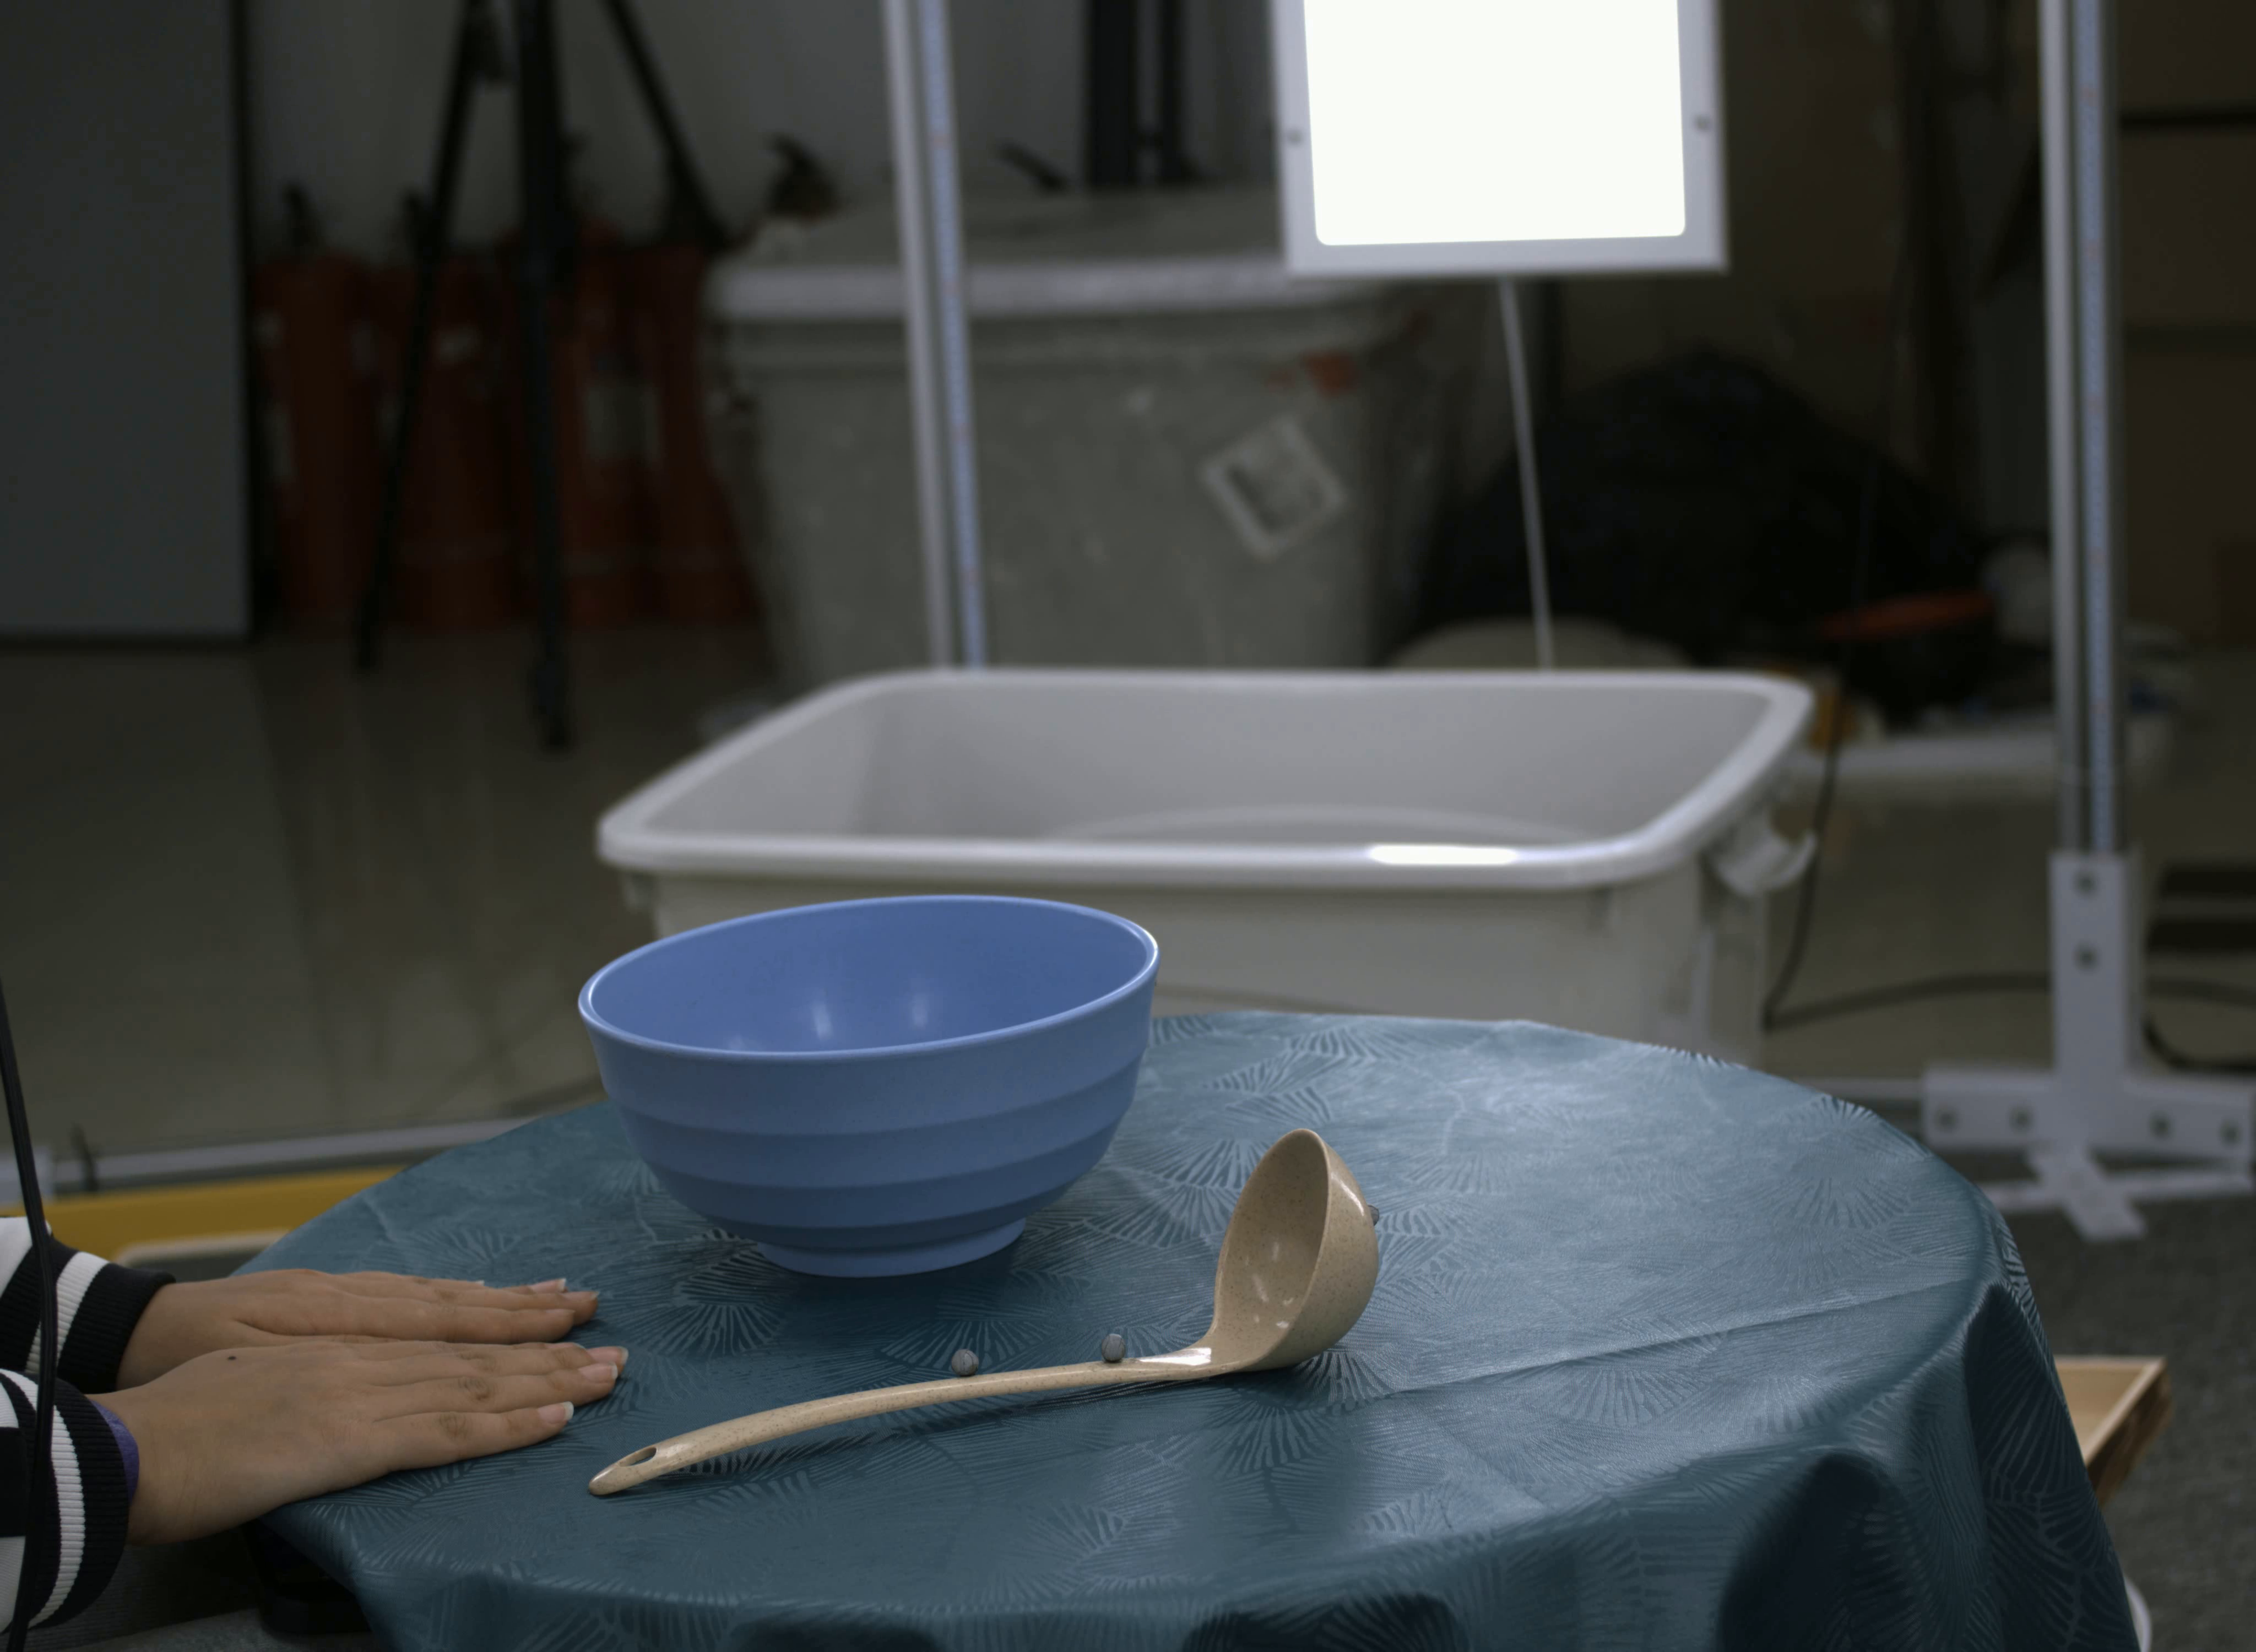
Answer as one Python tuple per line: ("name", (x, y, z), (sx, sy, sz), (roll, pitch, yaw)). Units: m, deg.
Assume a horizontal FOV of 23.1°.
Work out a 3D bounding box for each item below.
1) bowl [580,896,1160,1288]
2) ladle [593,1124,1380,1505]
("bowl", (-0.084, 0.096, 1.865), (0.196, 0.096, 0.196), (-5, 15, 0))
("ladle", (-0.045, 0.146, 1.680), (0.250, 0.073, 0.073), (-10, 14, -18))
